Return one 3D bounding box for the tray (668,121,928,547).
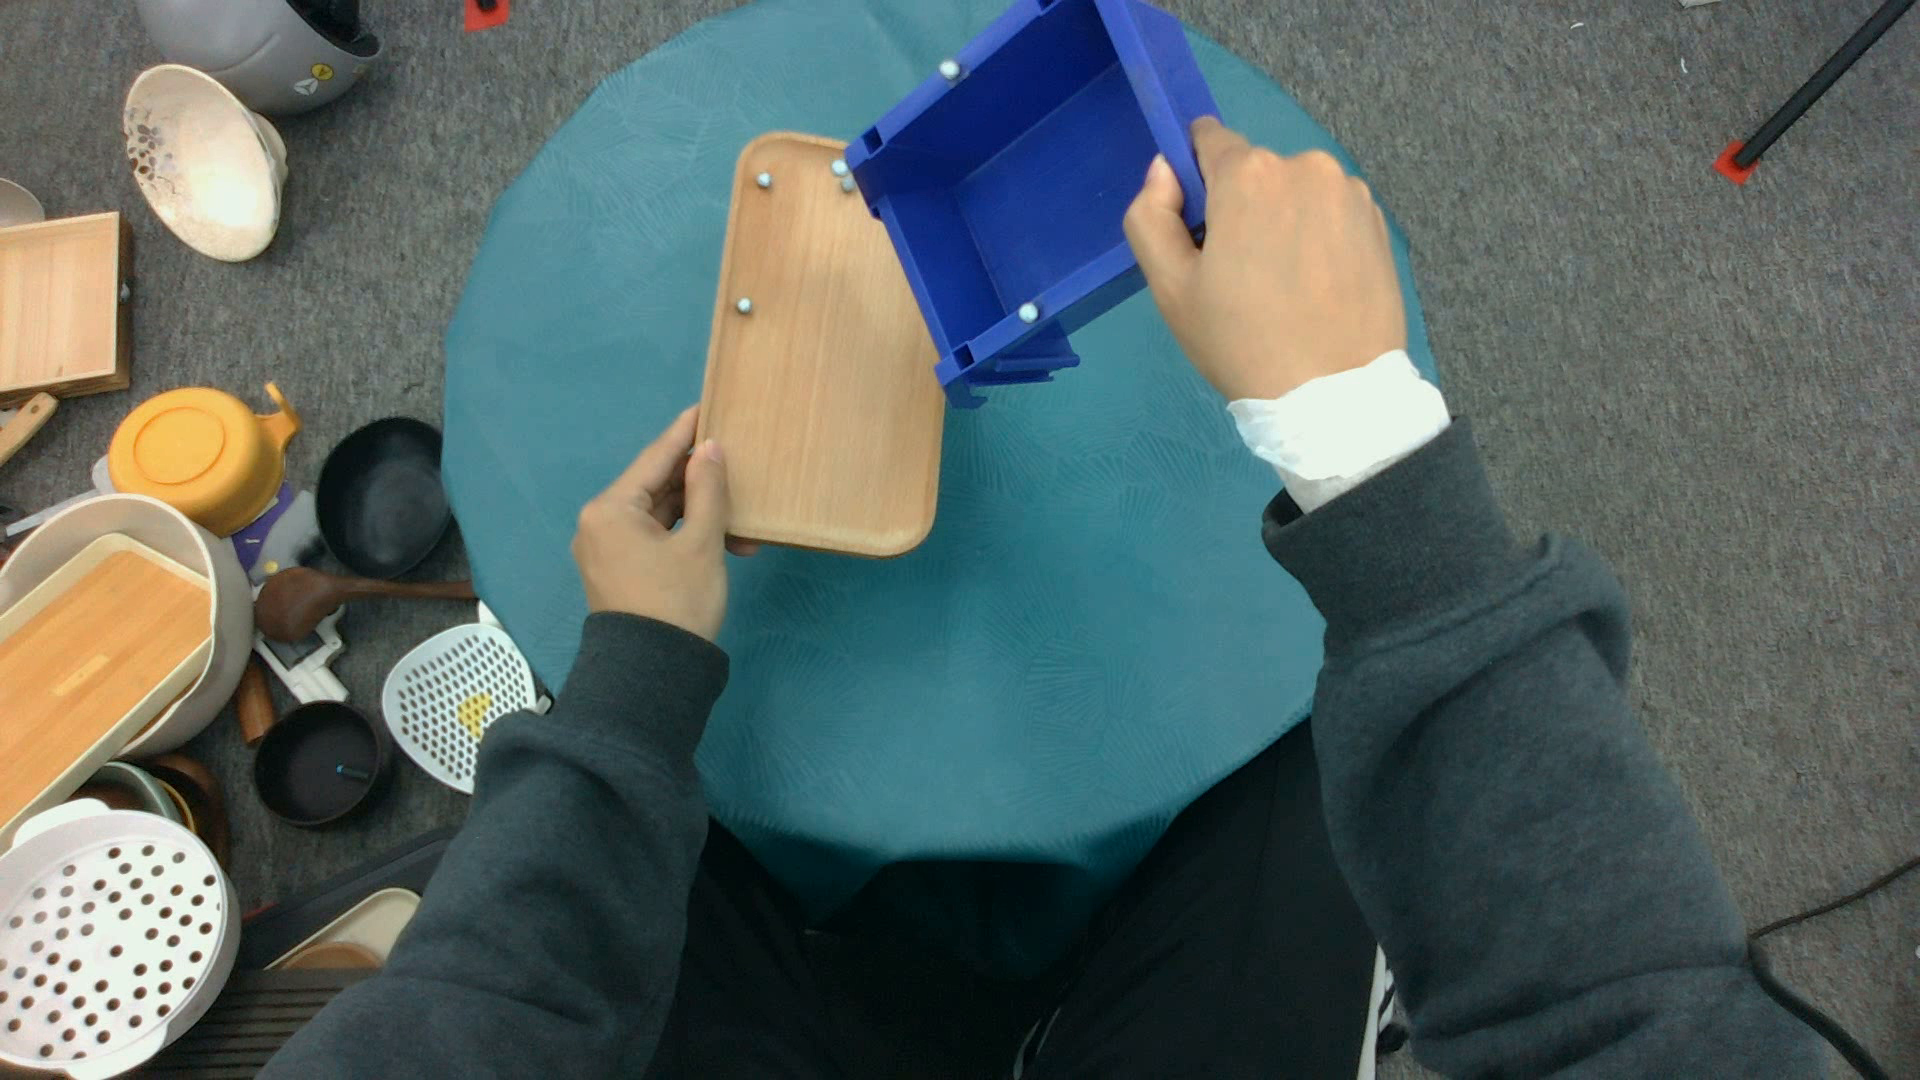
[{"bbox_3d":[-0.080,-0.115,0.742,0.130,0.023,0.251,7,67,-8],"label":"tray"}]

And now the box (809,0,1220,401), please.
[{"bbox_3d":[0.019,-0.150,0.620,0.178,0.082,0.124,-24,83,33],"label":"box"}]
